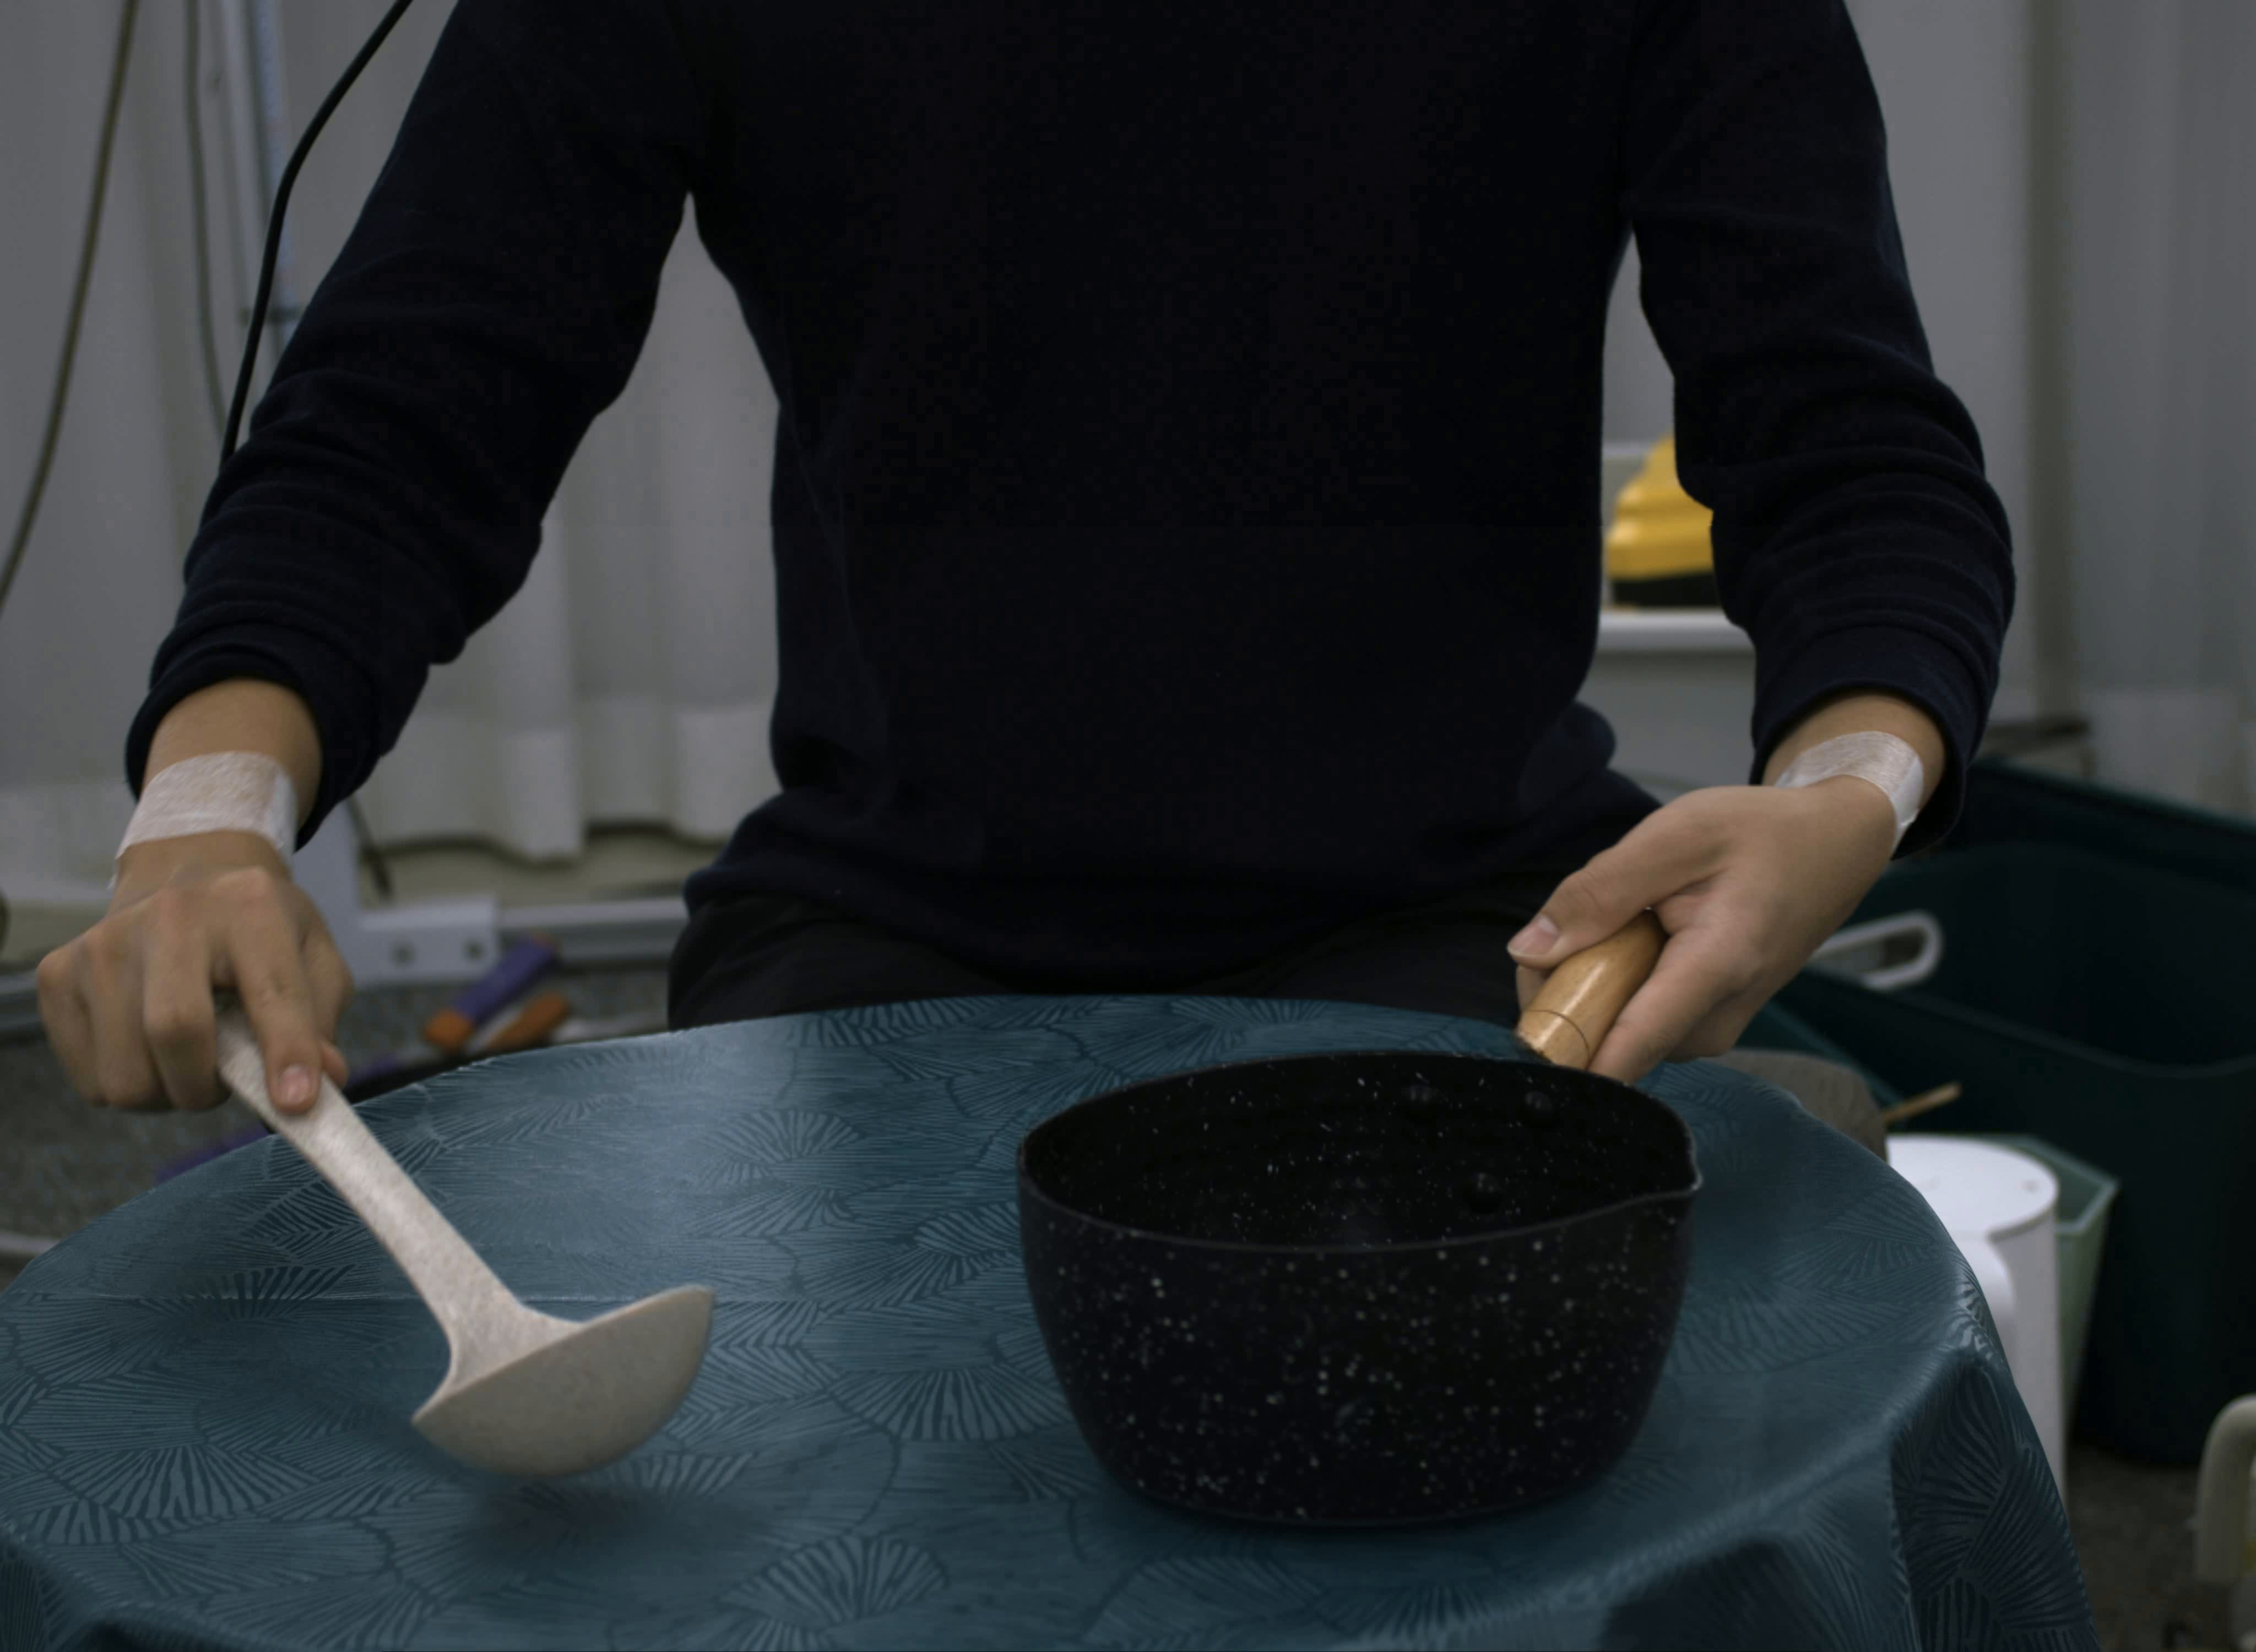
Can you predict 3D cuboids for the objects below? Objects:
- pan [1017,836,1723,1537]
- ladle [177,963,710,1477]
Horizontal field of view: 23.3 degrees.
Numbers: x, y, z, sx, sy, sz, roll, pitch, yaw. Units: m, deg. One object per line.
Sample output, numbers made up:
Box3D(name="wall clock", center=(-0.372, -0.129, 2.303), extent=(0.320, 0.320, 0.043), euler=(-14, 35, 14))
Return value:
Box3D(name="pan", center=(0.096, 0.097, 1.557), extent=(0.208, 0.108, 0.343), euler=(3, 16, 25))
Box3D(name="ladle", center=(-0.209, 0.088, 1.539), extent=(0.089, 0.068, 0.278), euler=(-23, 41, -23))
